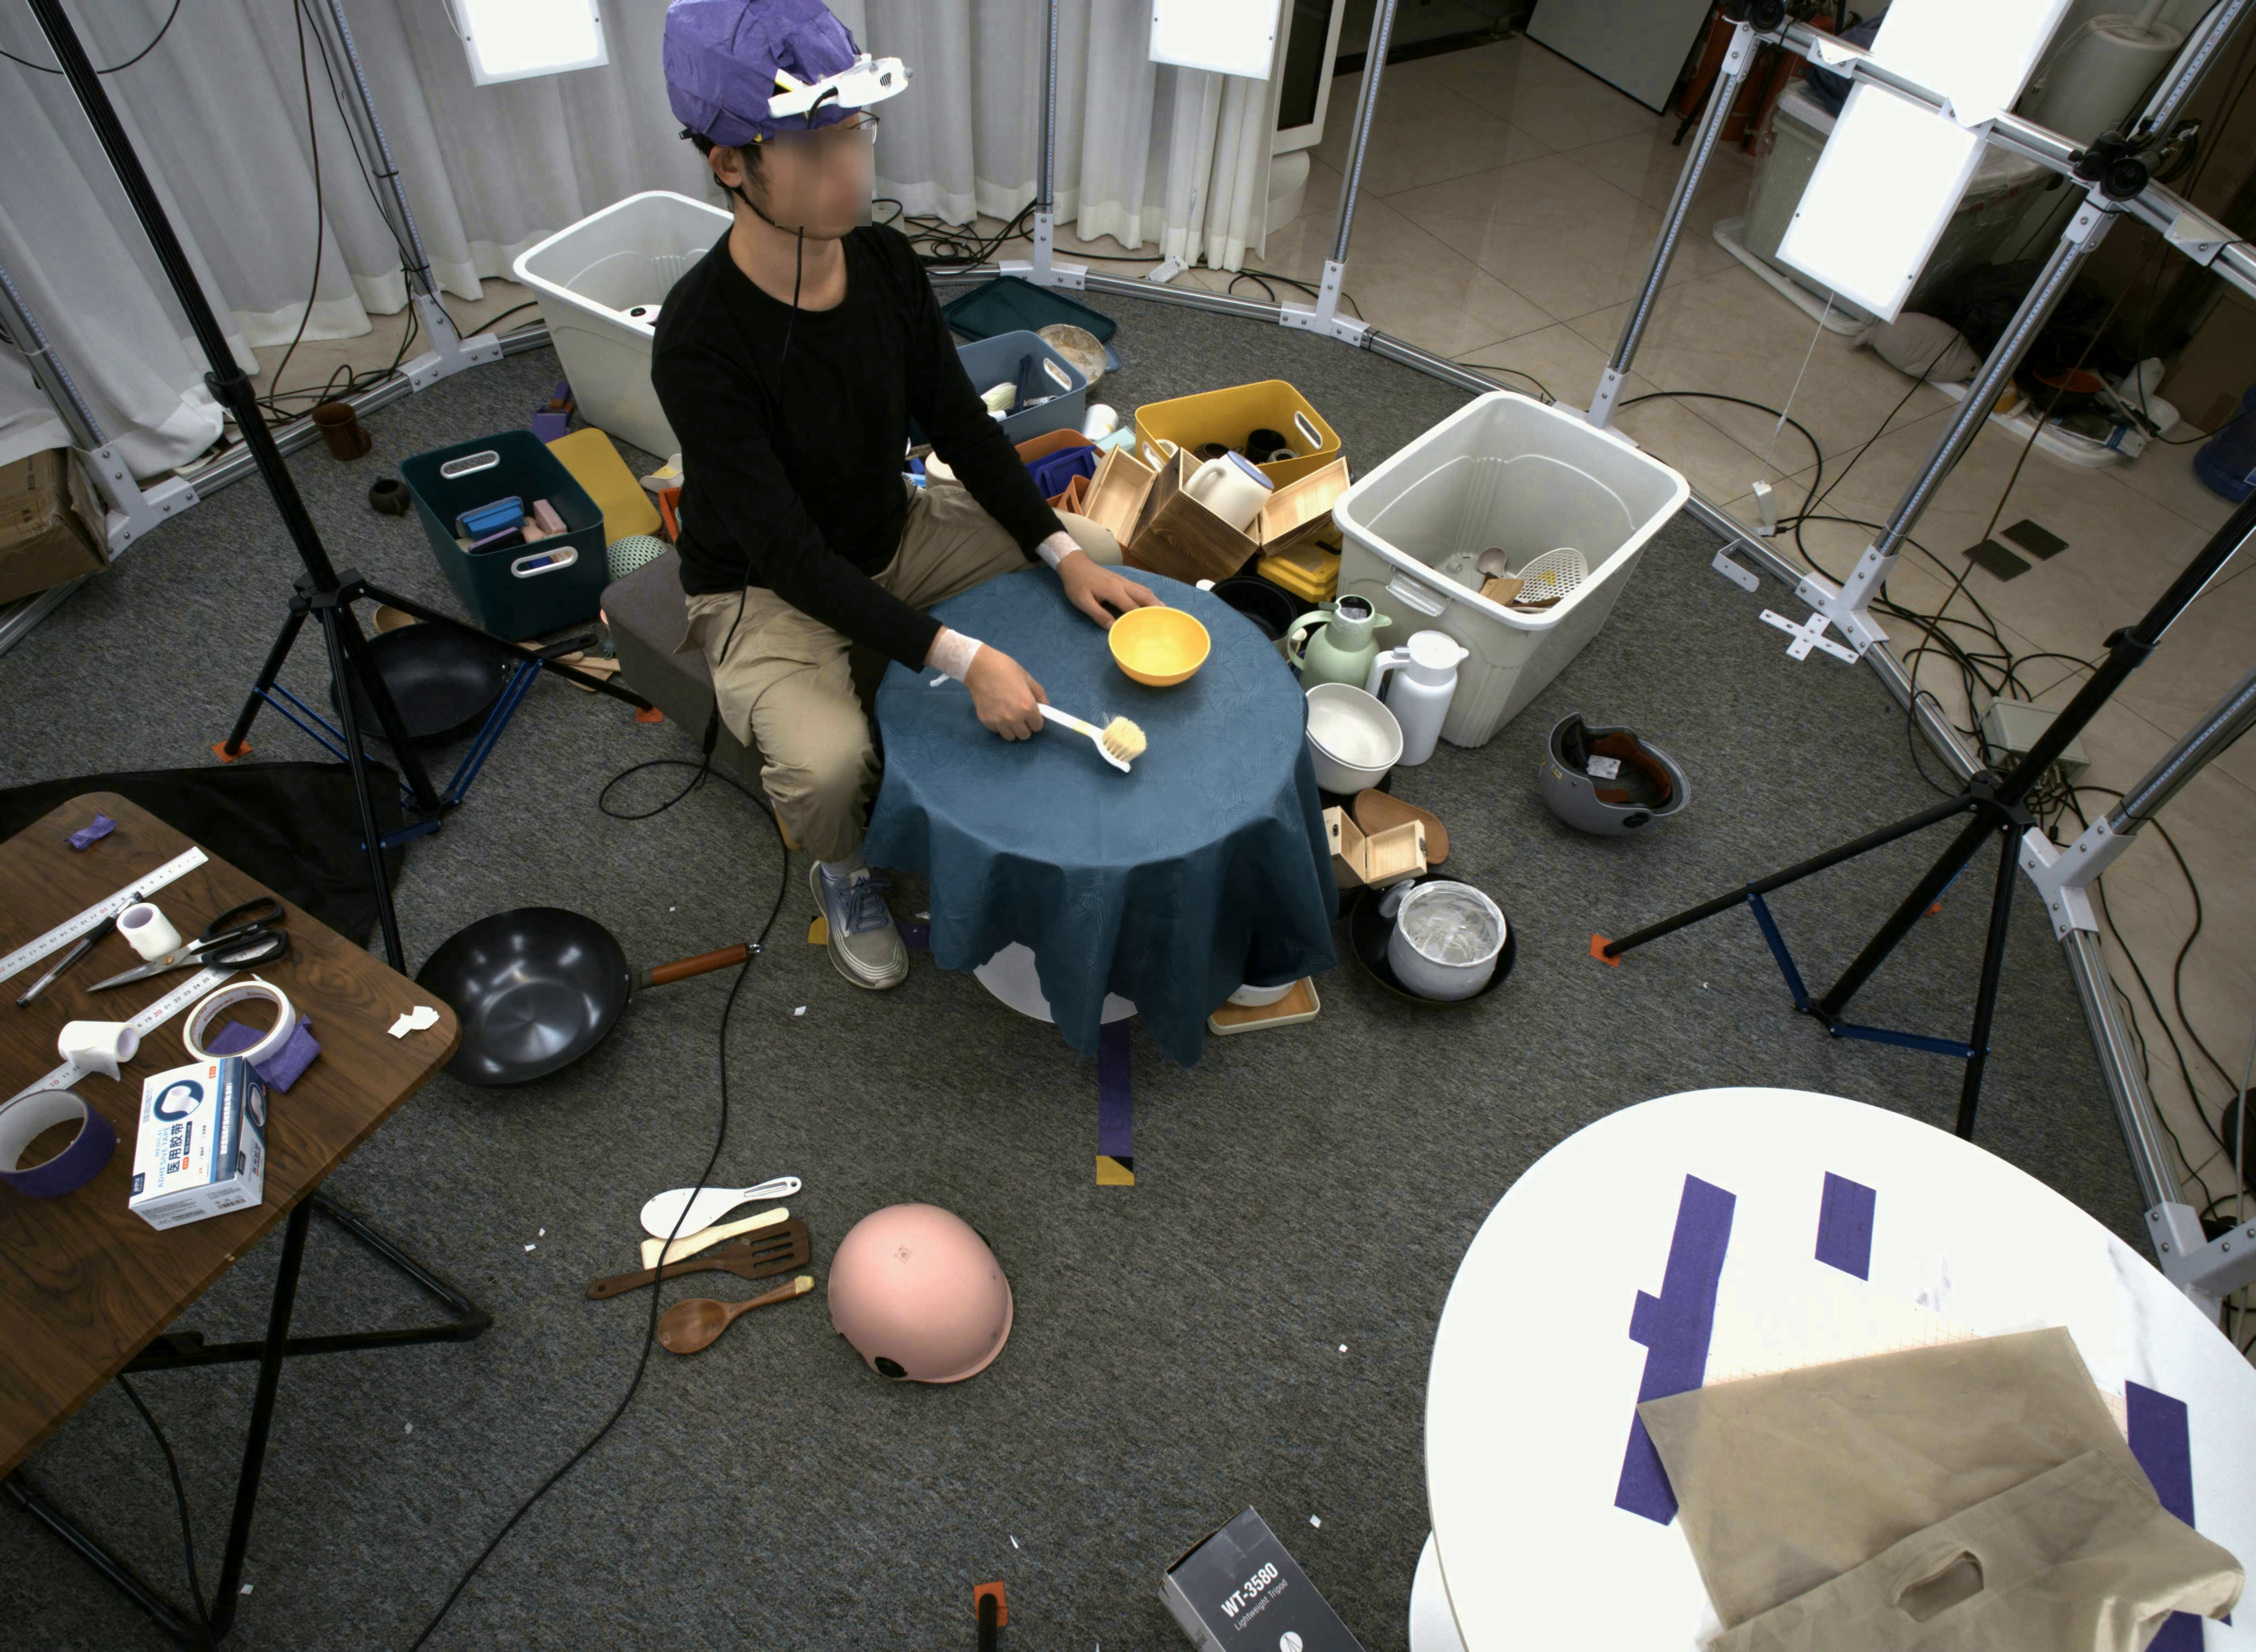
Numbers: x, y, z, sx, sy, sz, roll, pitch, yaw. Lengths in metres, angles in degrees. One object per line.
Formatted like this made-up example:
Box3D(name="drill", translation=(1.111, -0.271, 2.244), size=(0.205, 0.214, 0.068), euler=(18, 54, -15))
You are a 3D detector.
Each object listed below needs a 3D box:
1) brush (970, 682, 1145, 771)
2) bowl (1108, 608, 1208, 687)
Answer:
Box3D(name="brush", translation=(-0.097, -0.157, 1.746), size=(0.269, 0.055, 0.069), euler=(29, 20, 16))
Box3D(name="bowl", translation=(0.041, -0.246, 1.848), size=(0.145, 0.058, 0.149), euler=(2, 48, -3))
